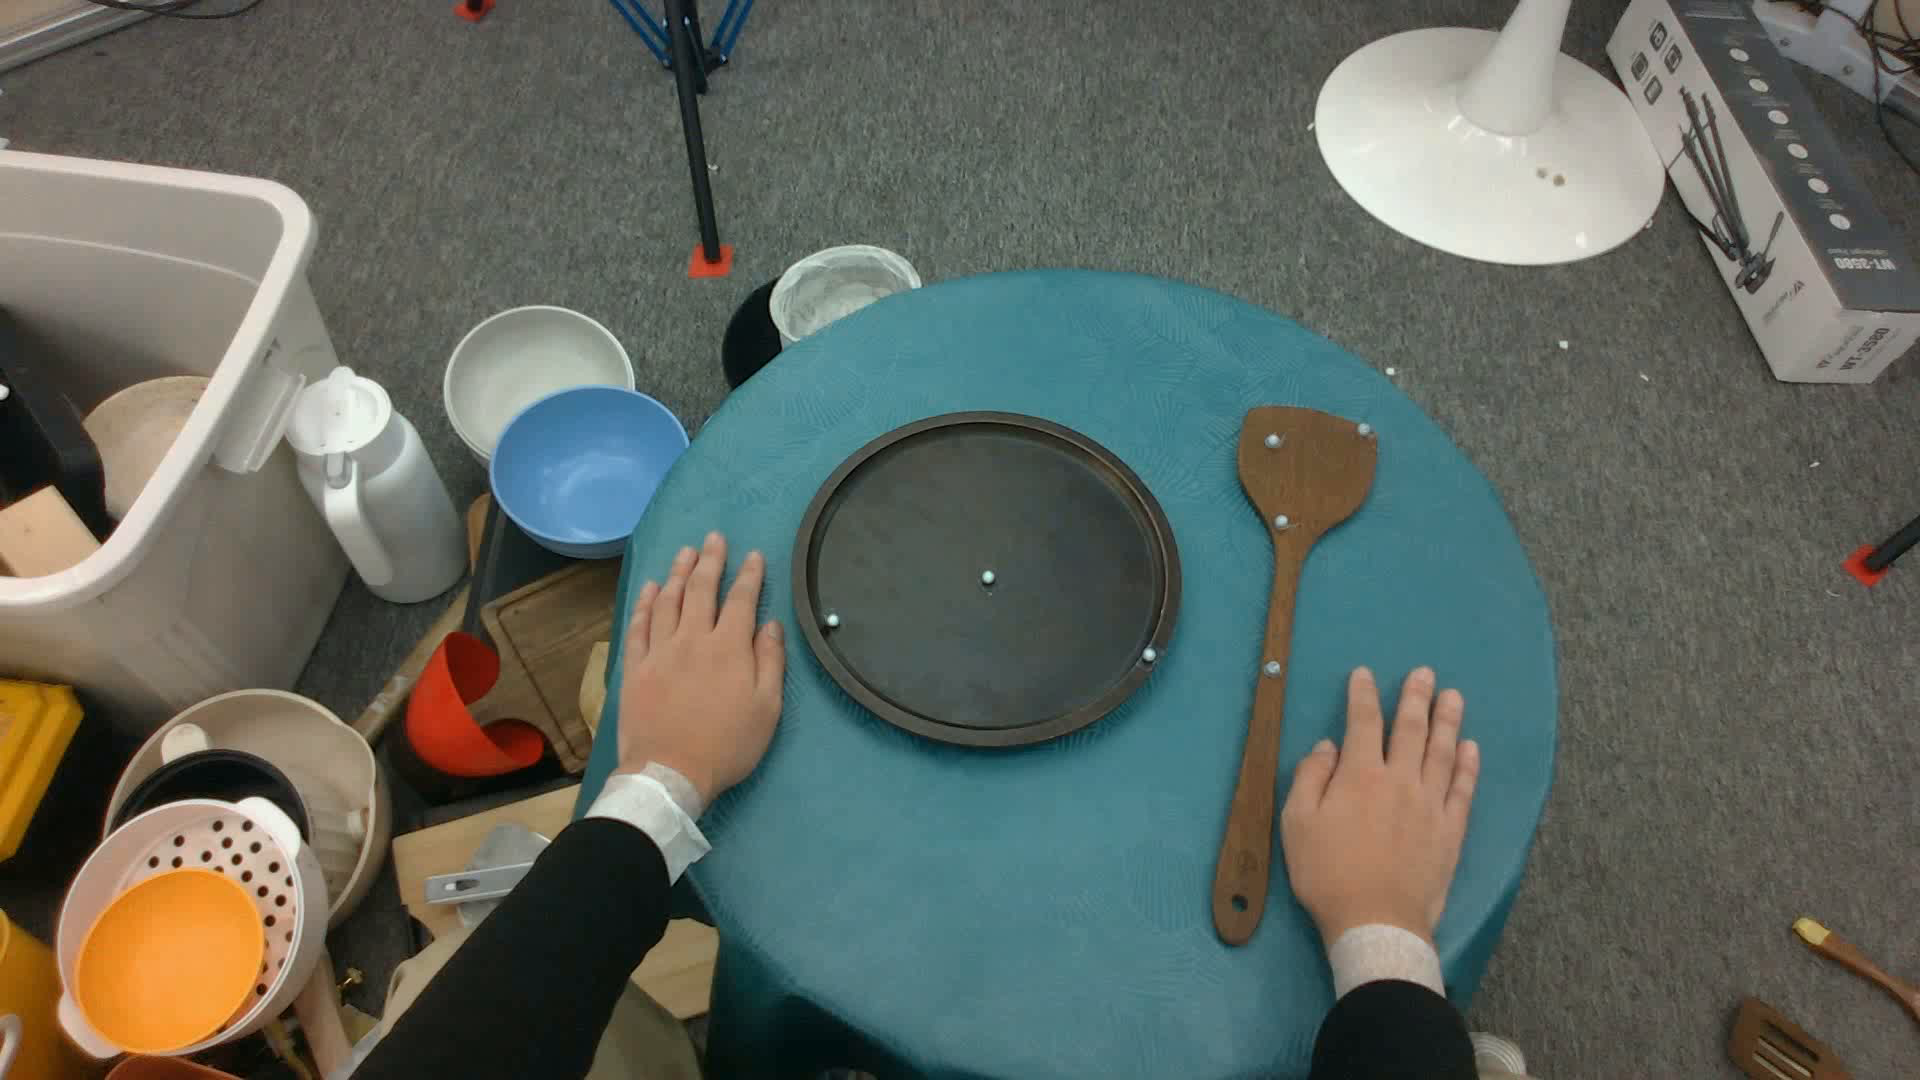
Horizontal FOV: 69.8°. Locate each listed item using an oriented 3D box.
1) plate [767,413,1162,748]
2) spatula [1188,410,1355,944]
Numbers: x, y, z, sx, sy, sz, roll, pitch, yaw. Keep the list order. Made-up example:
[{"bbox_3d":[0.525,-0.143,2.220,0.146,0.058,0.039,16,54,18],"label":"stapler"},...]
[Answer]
[{"bbox_3d":[0.003,0.021,0.891,0.255,0.029,0.256,2,56,-4],"label":"plate"},{"bbox_3d":[0.187,0.068,0.875,0.096,0.016,0.388,13,57,6],"label":"spatula"}]
